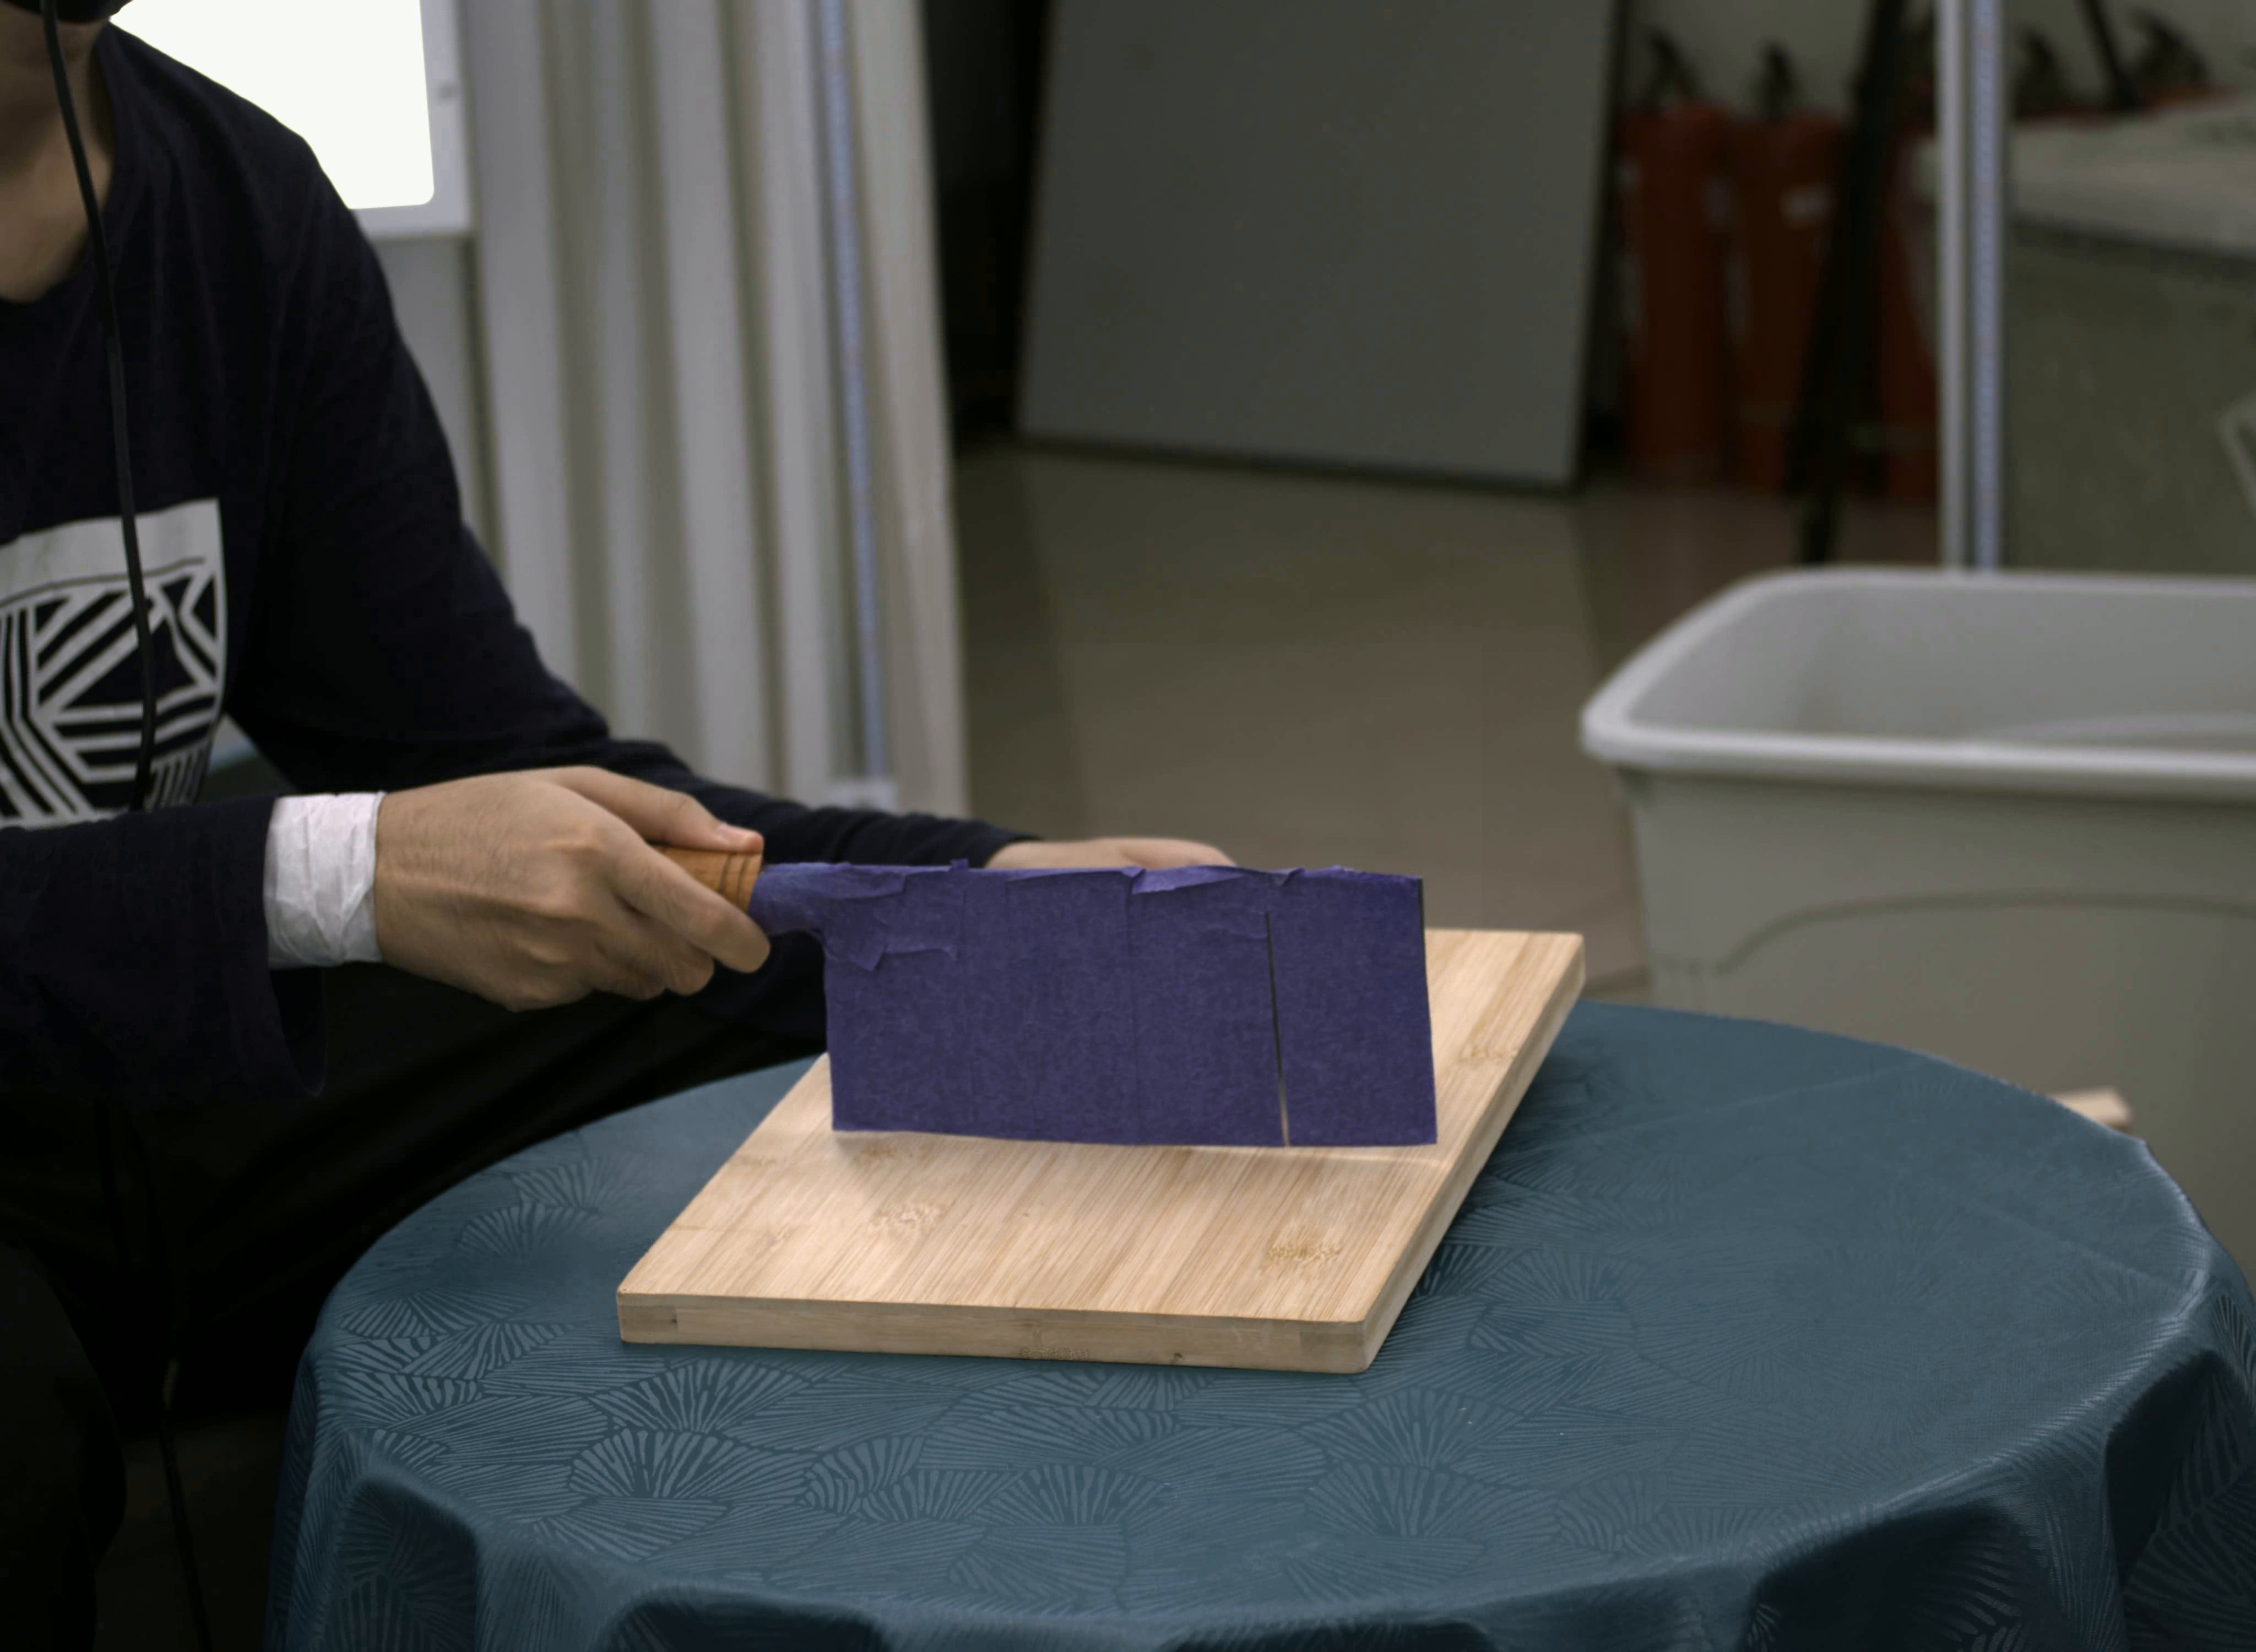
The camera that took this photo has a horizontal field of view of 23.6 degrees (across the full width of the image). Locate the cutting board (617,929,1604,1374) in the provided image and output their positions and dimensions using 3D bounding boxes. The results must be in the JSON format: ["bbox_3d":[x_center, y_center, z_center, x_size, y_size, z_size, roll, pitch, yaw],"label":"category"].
[{"bbox_3d":[0.004,0.099,1.778,0.250,0.024,0.346,0,18,17],"label":"cutting board"}]

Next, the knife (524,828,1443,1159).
[{"bbox_3d":[-0.050,0.055,1.740,0.315,0.105,0.032,-1,8,24],"label":"knife"}]
